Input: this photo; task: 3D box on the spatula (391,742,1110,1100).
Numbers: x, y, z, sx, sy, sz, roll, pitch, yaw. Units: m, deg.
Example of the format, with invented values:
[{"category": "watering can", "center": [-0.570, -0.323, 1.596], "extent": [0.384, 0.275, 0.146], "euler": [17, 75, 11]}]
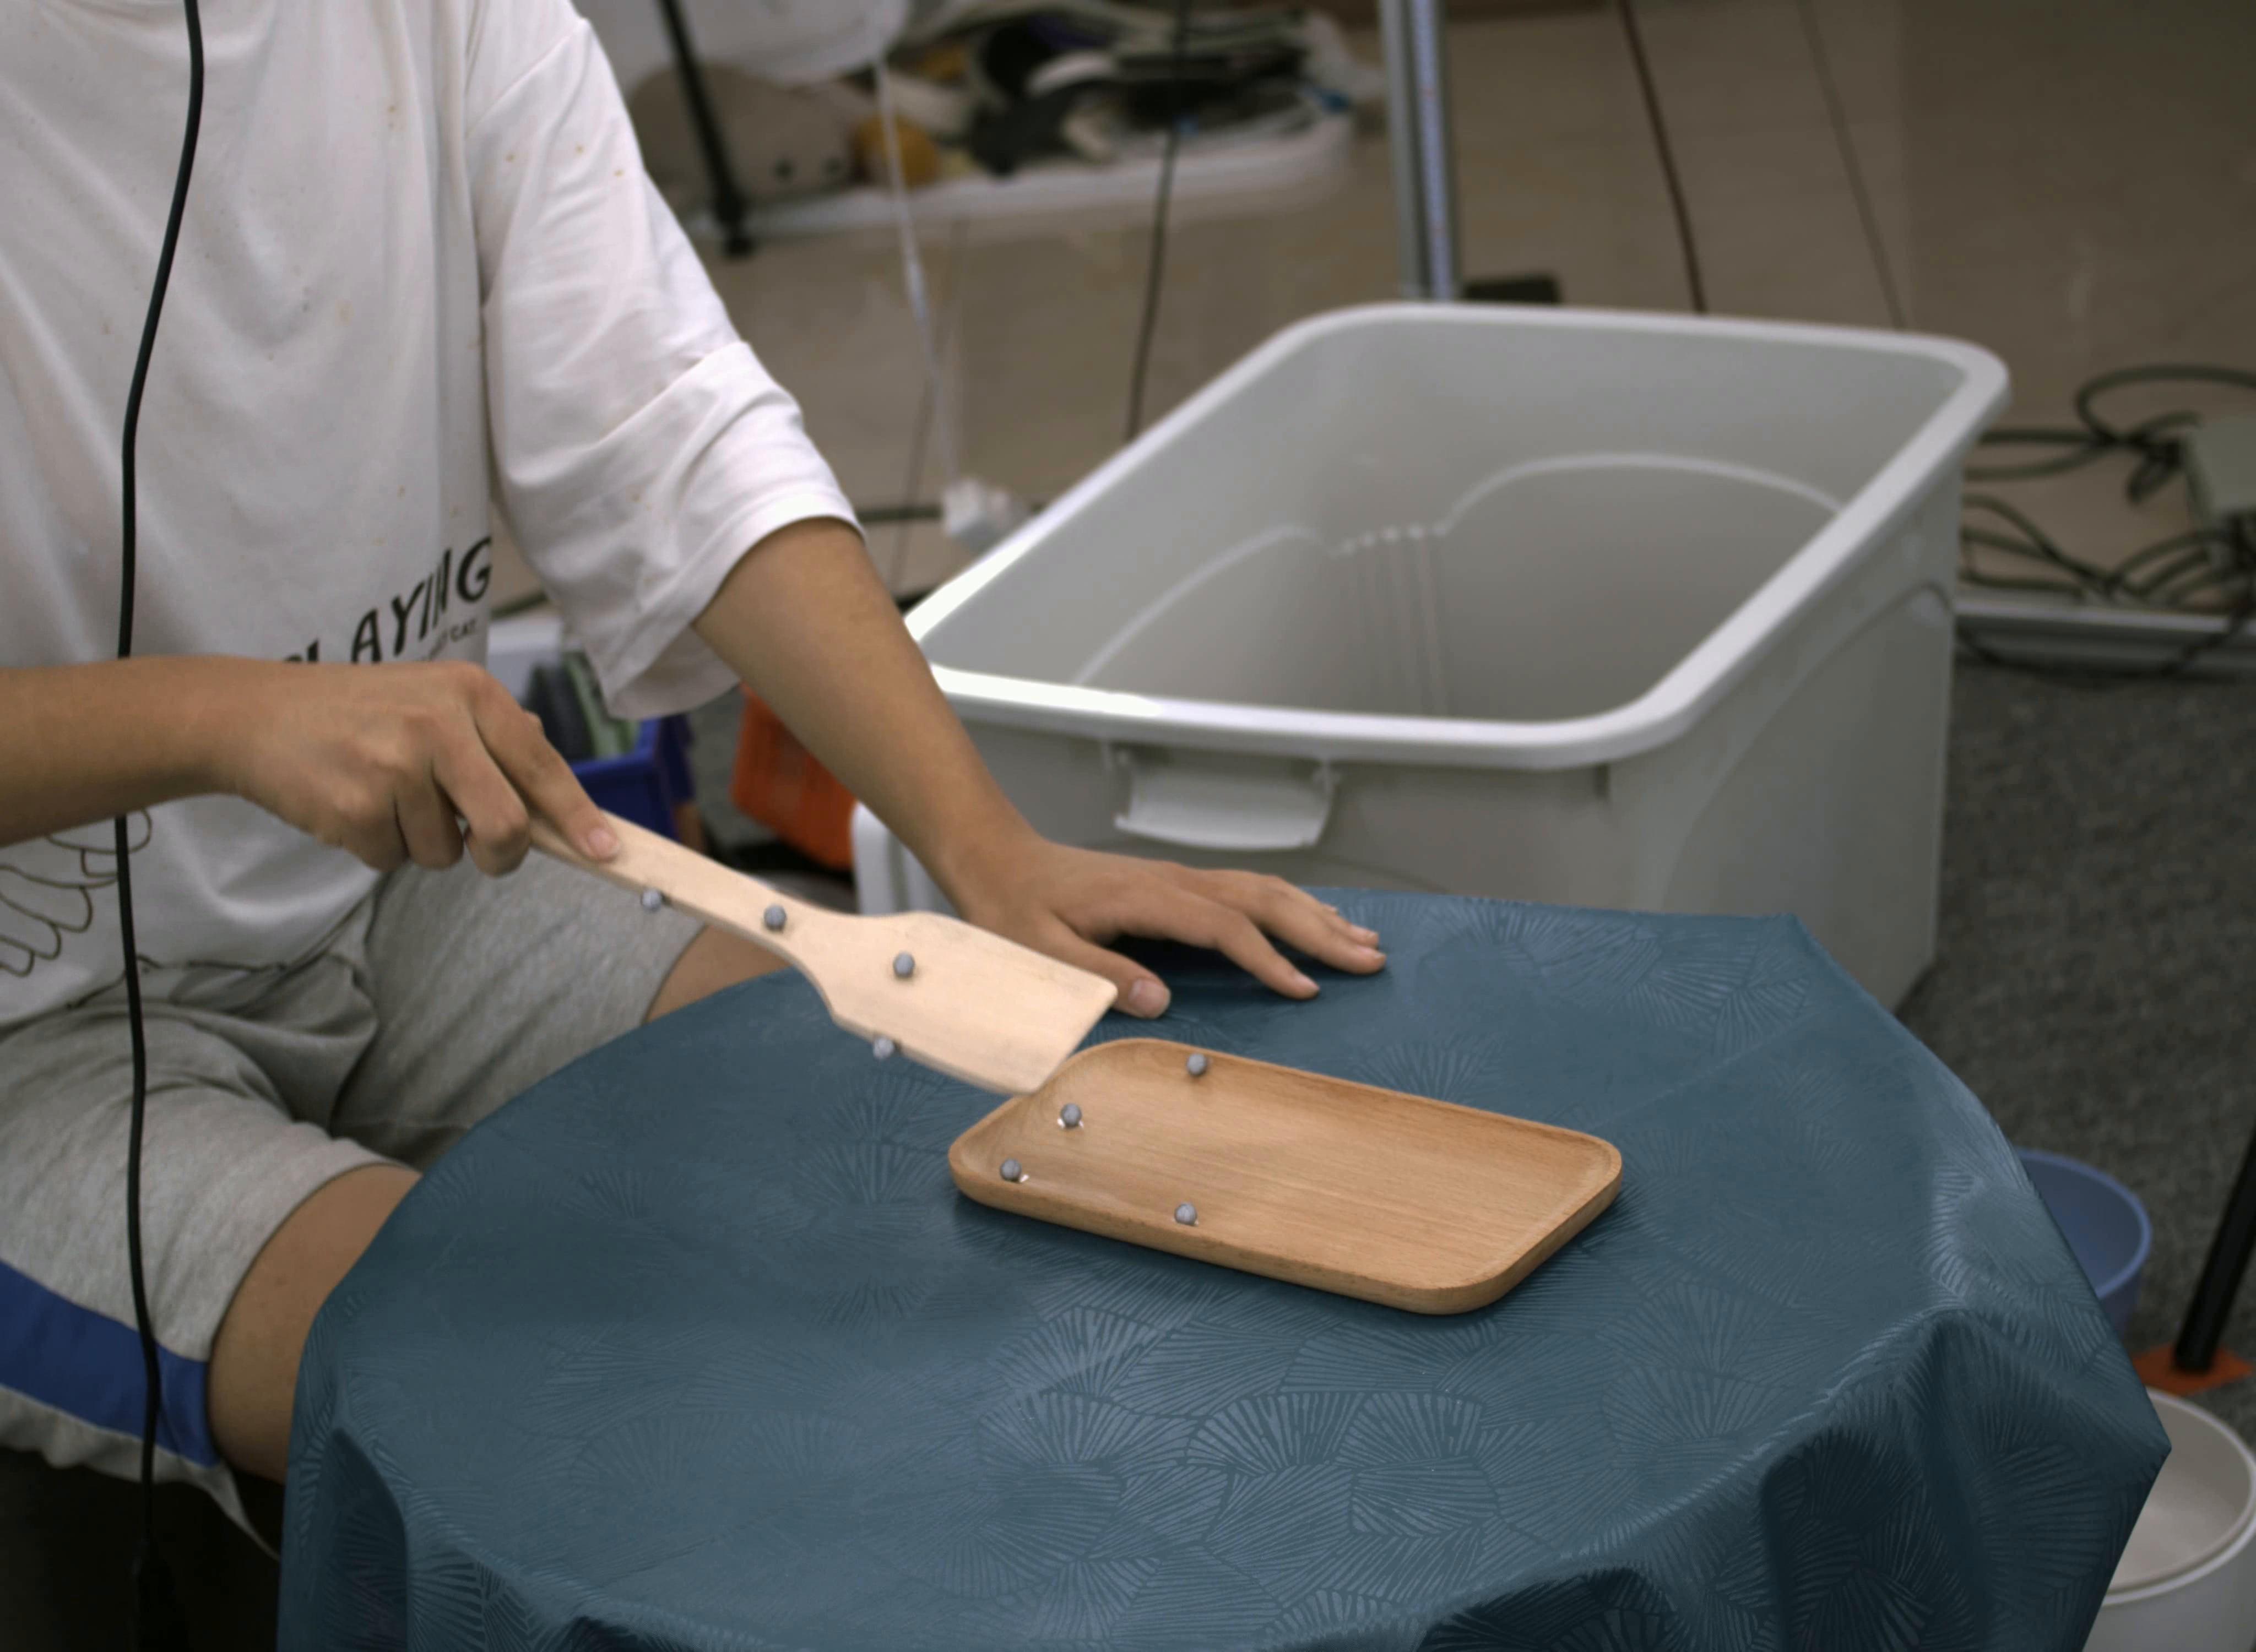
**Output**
[{"category": "spatula", "center": [-0.148, 0.029, 2.104], "extent": [0.291, 0.011, 0.071], "euler": [23, 45, 17]}]

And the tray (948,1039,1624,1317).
[{"category": "tray", "center": [0.058, 0.131, 2.131], "extent": [0.249, 0.023, 0.129], "euler": [13, 34, 35]}]
